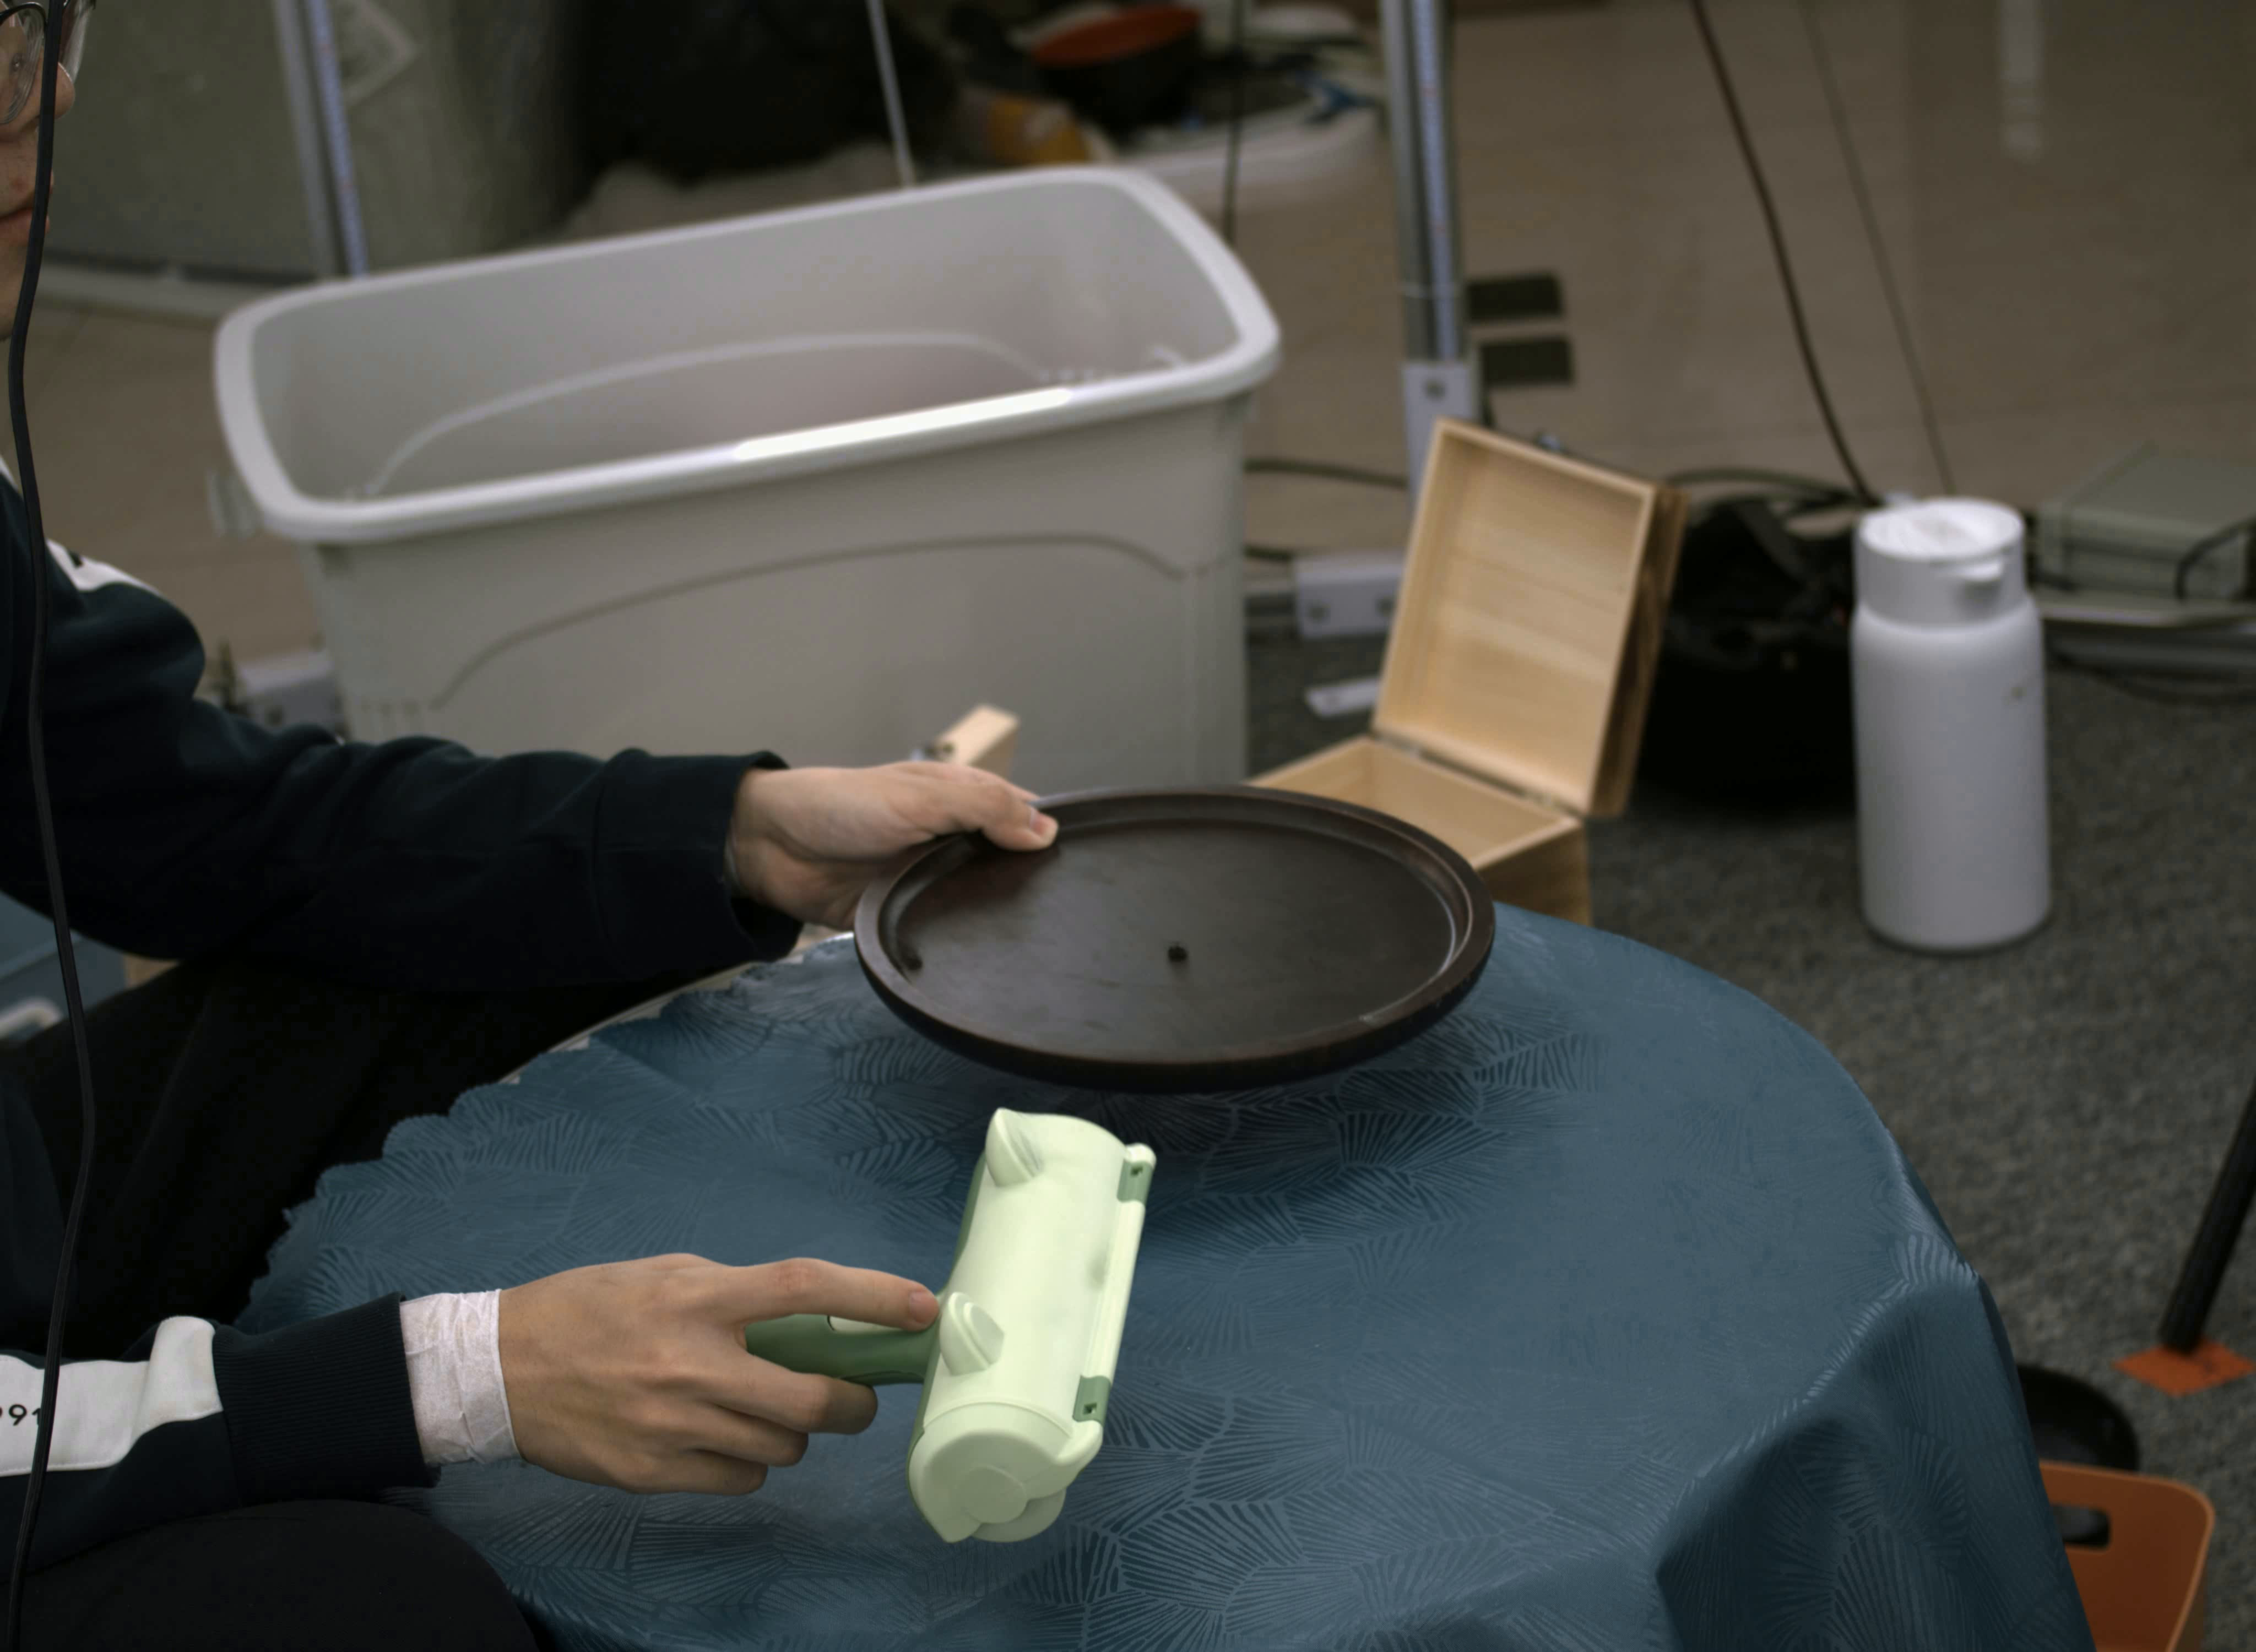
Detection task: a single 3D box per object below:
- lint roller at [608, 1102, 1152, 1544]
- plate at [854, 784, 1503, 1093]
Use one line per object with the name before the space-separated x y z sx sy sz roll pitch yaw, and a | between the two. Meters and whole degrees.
lint roller | -0.091 0.162 1.921 0.183 0.083 0.195 -2 30 8
plate | 0.019 0.042 2.214 0.254 0.029 0.251 -1 26 0
